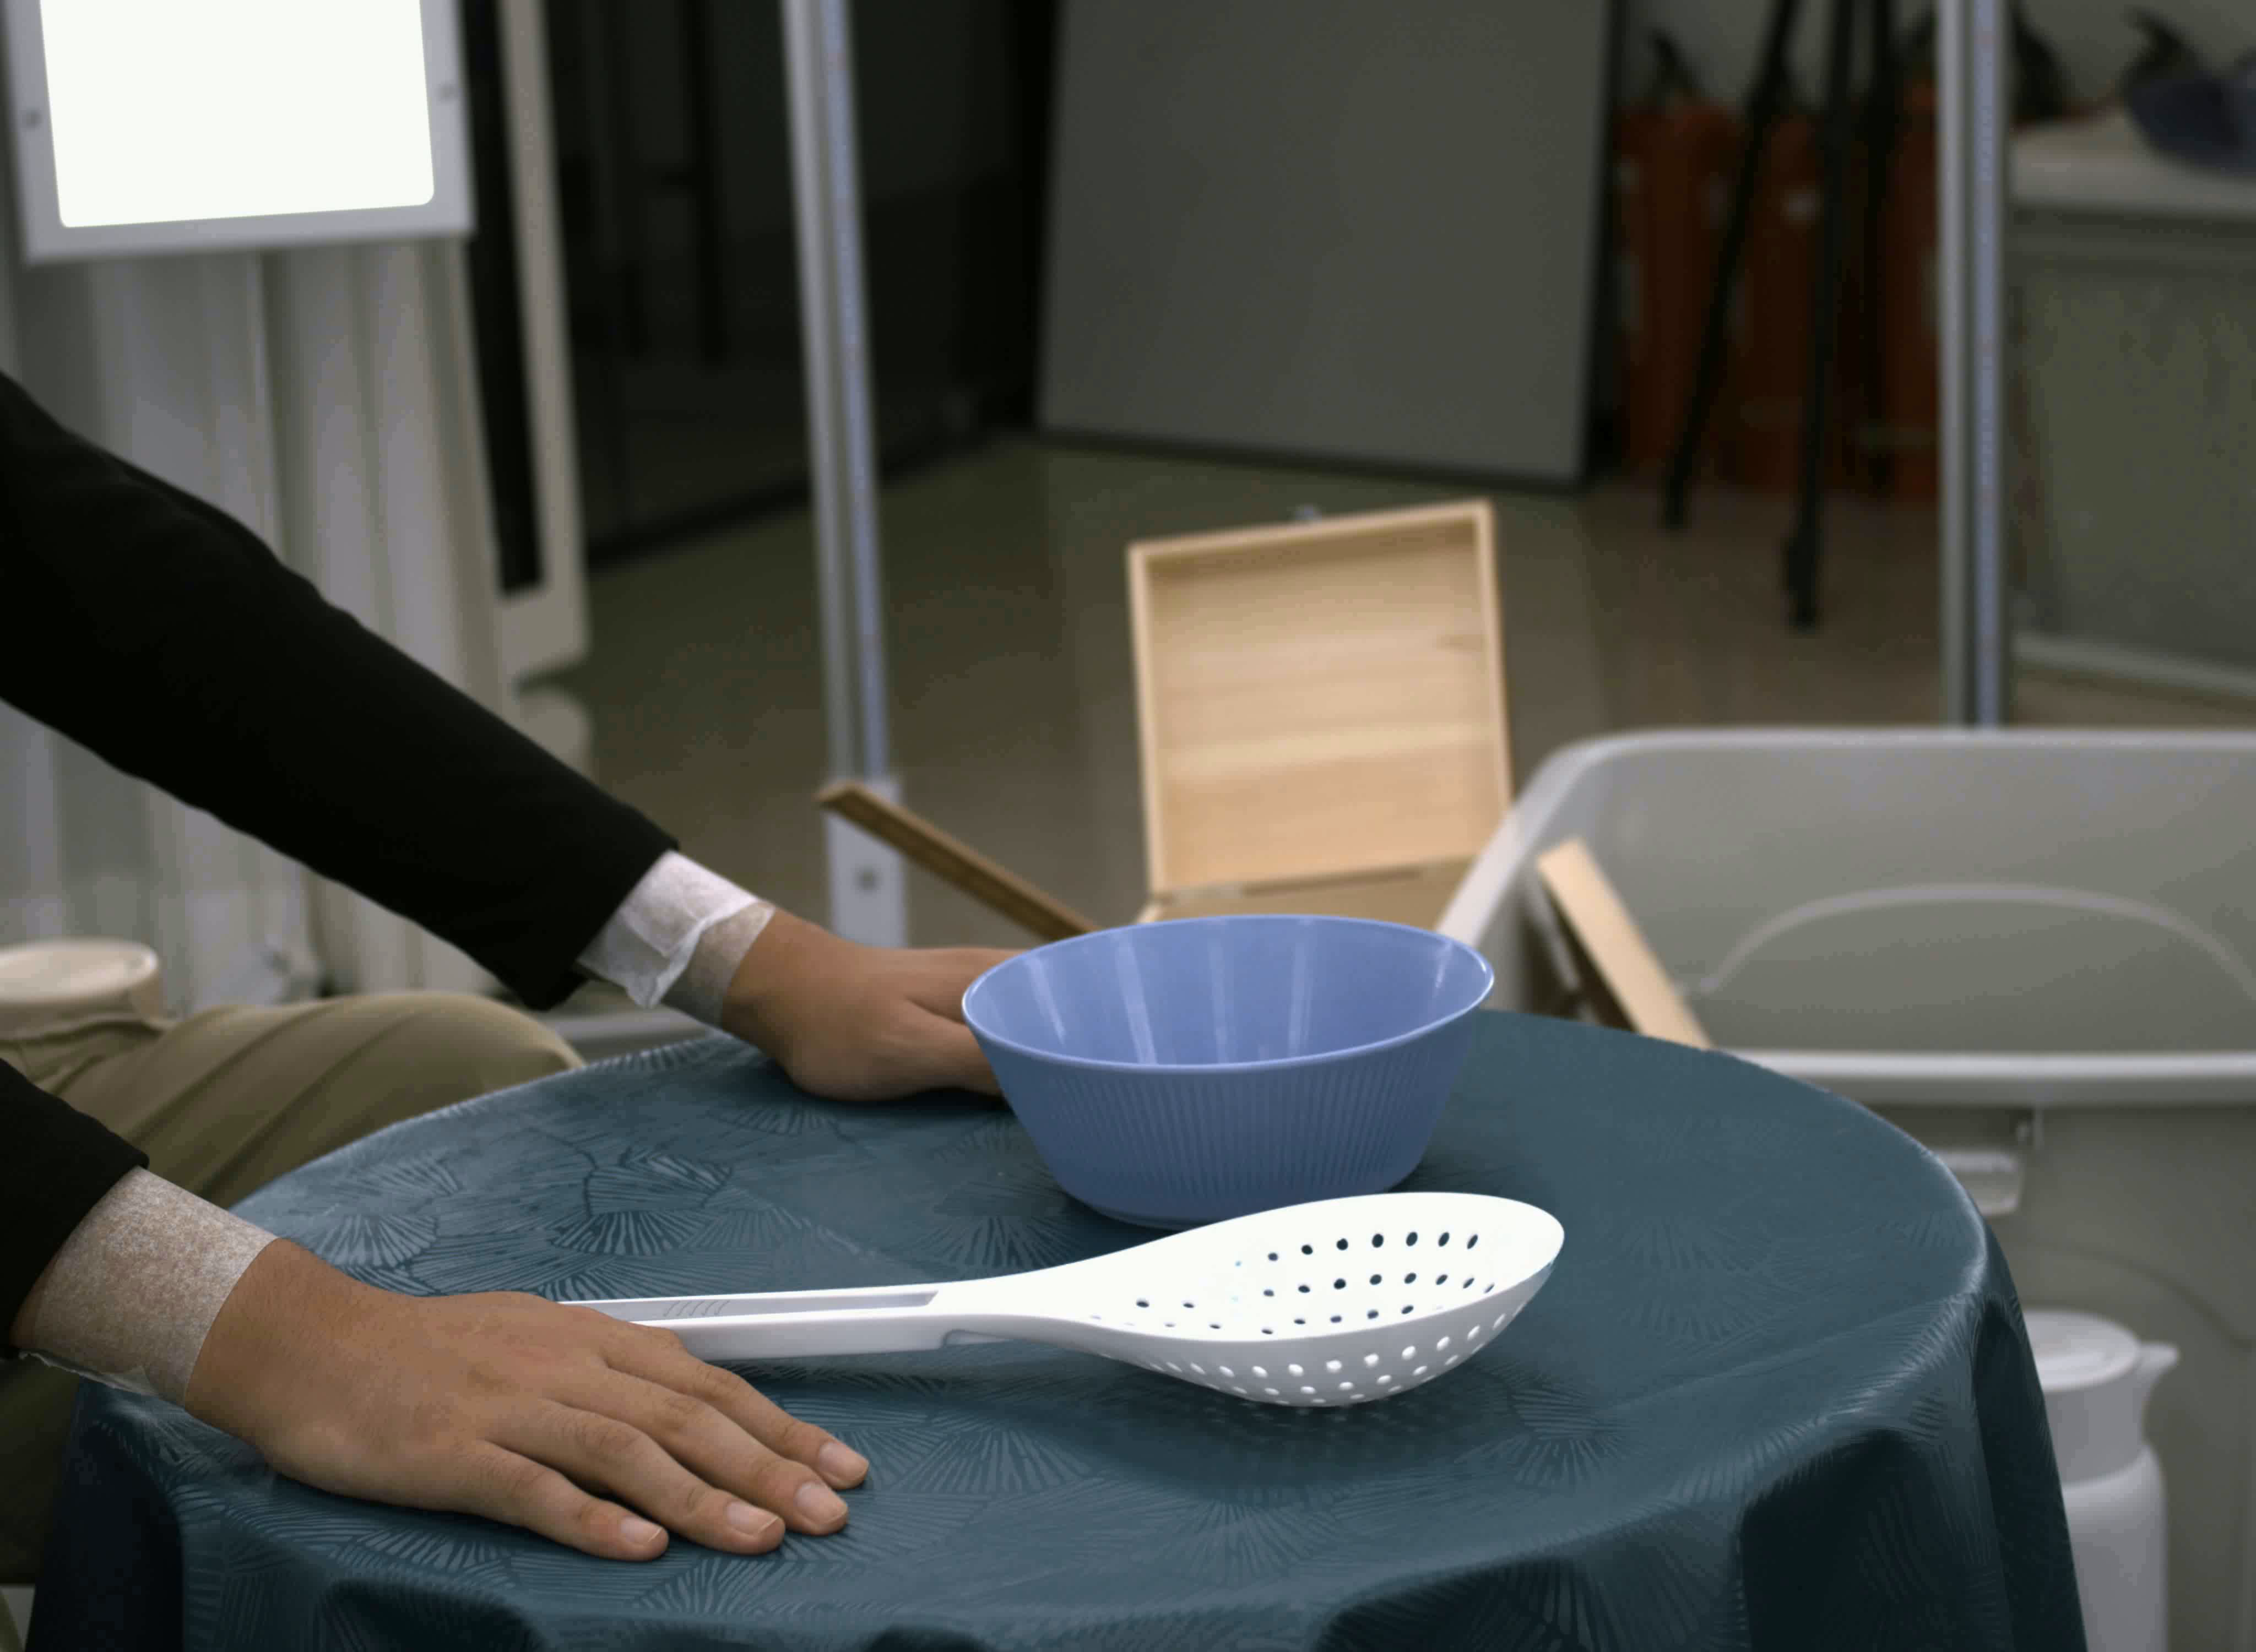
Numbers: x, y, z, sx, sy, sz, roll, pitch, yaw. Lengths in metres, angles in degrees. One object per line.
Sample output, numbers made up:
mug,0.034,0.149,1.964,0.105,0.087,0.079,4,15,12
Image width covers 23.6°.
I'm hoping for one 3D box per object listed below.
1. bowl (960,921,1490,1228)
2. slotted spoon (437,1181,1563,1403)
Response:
bowl,0.034,0.083,1.765,0.174,0.071,0.176,-5,13,0
slotted spoon,-0.041,0.143,1.595,0.348,0.046,0.135,-2,14,16
